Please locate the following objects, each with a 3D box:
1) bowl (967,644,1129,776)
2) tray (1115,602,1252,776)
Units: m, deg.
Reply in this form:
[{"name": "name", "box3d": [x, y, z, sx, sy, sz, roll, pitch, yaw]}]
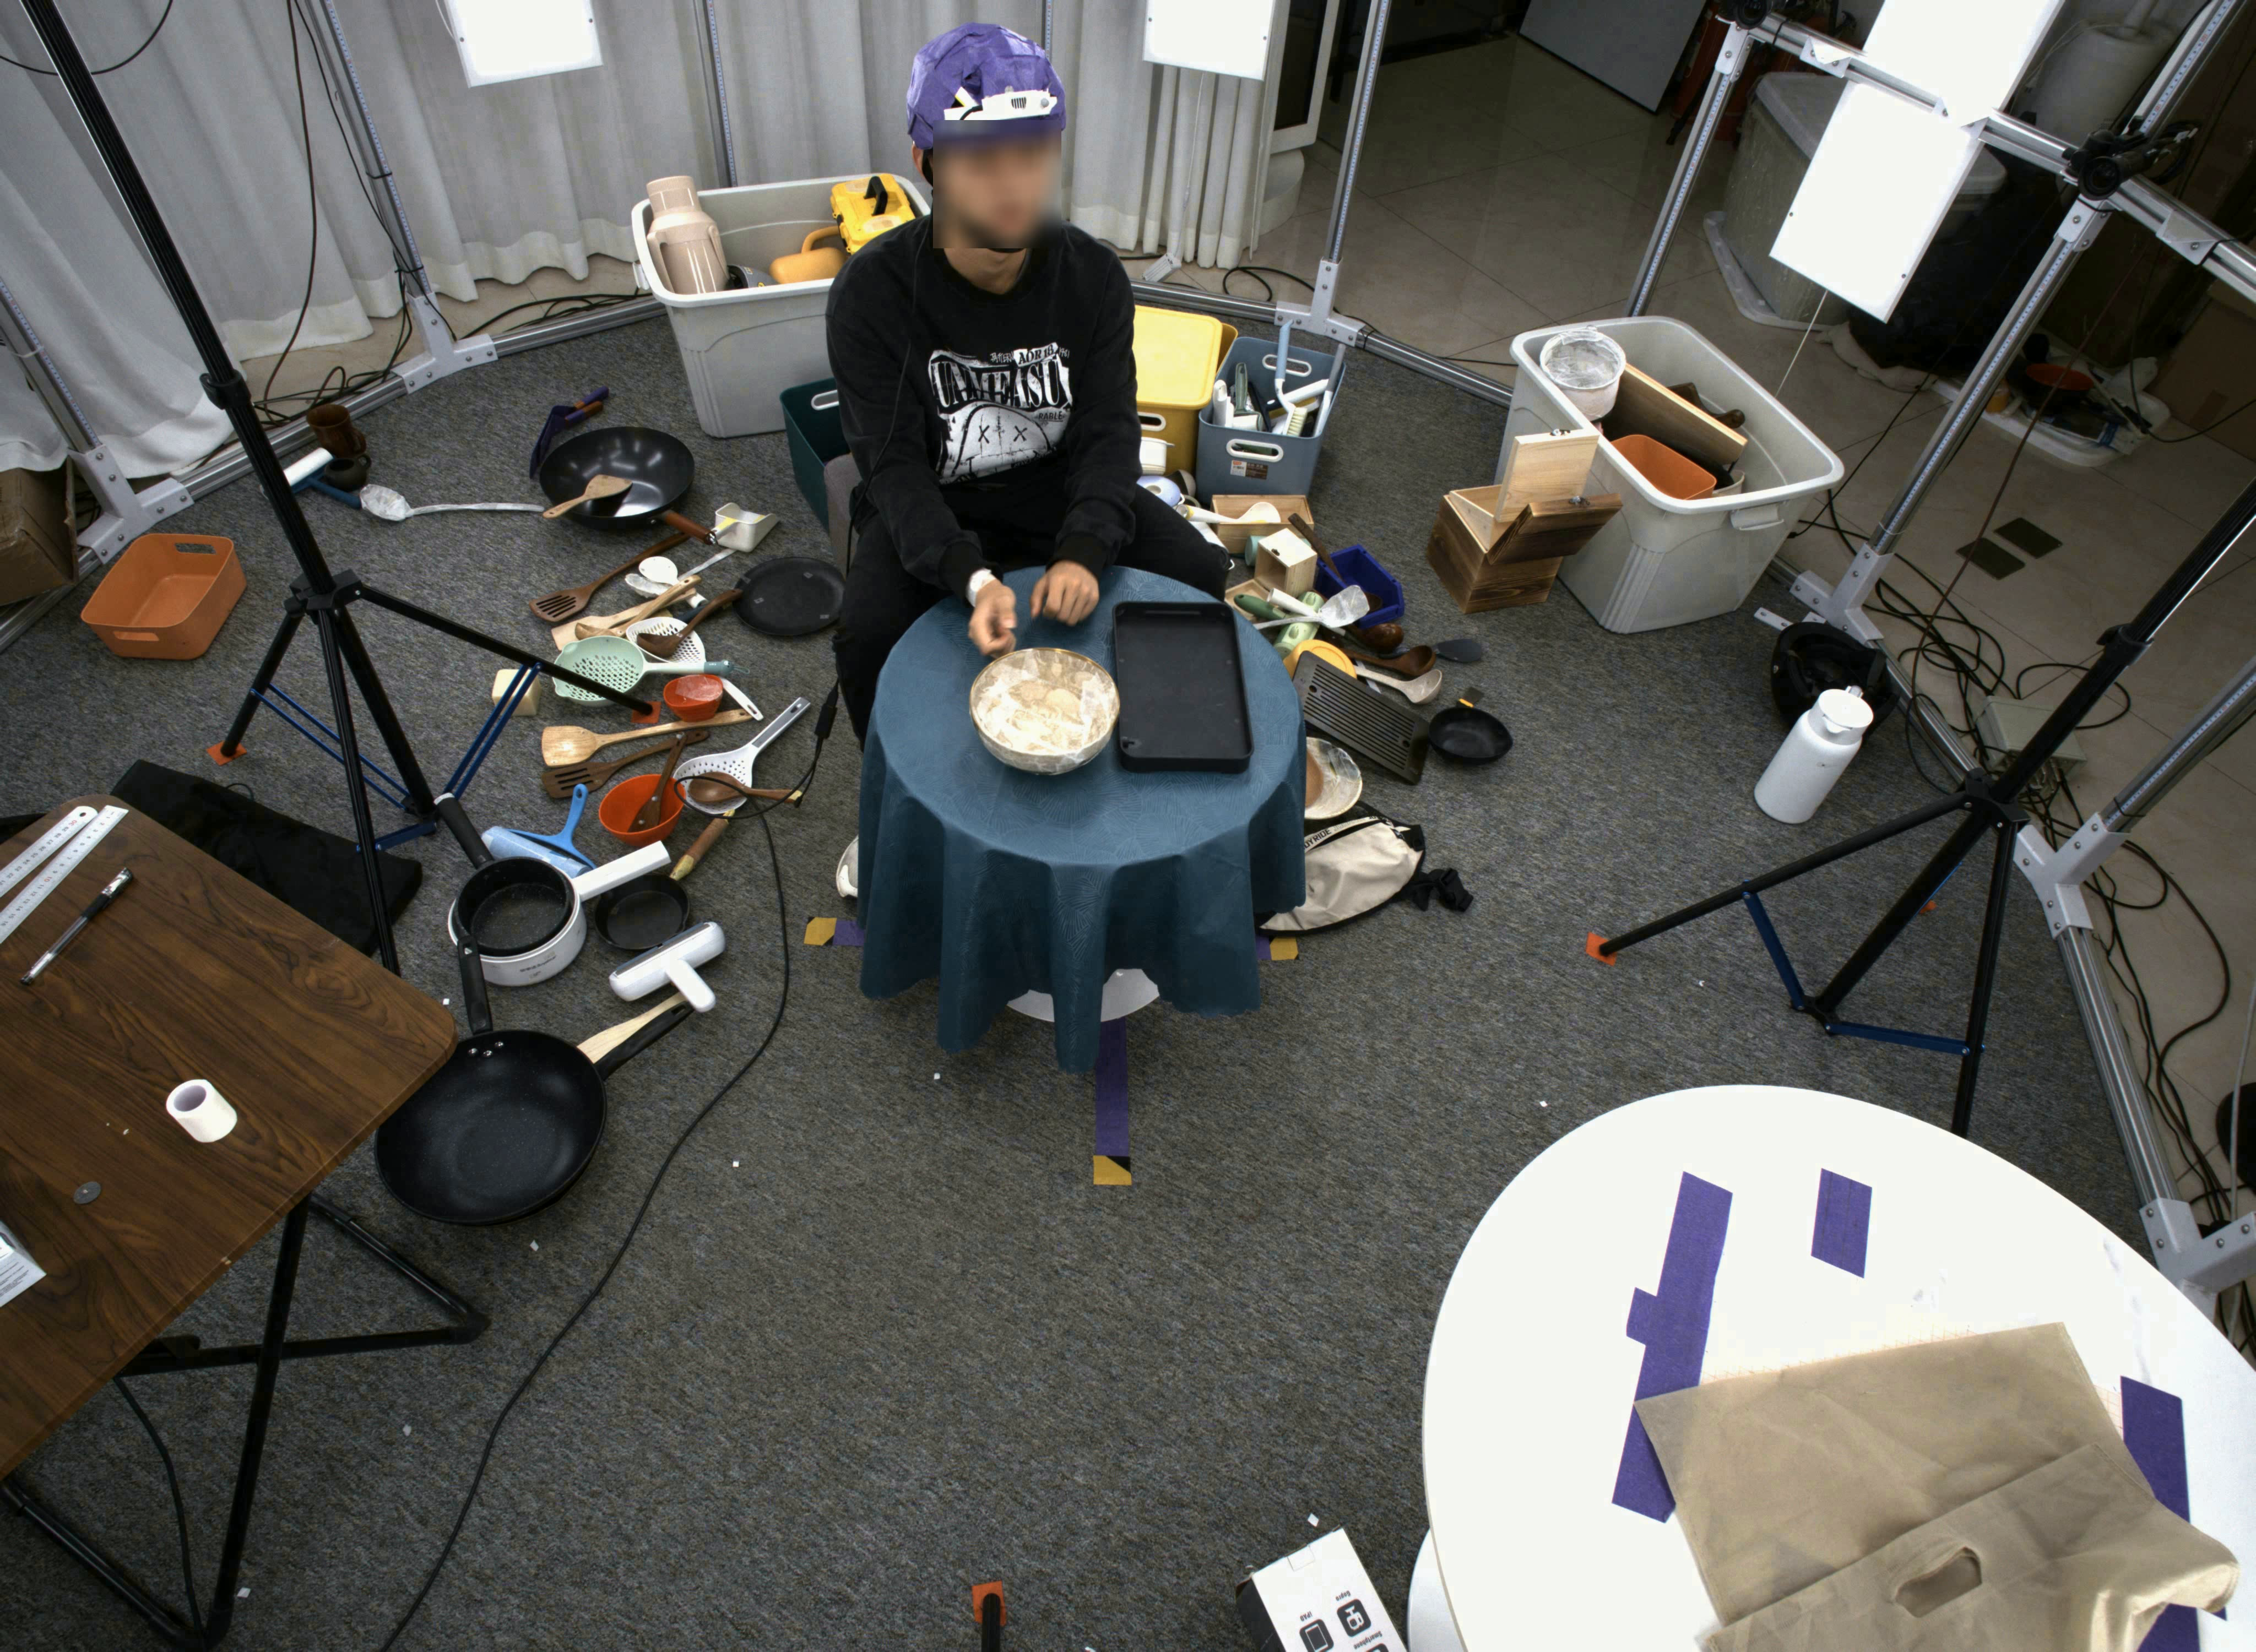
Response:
[{"name": "bowl", "box3d": [-0.109, -0.142, 1.740, 0.214, 0.092, 0.220, 1, 49, -1]}, {"name": "tray", "box3d": [0.074, -0.202, 1.843, 0.184, 0.036, 0.326, 1, 50, -3]}]
